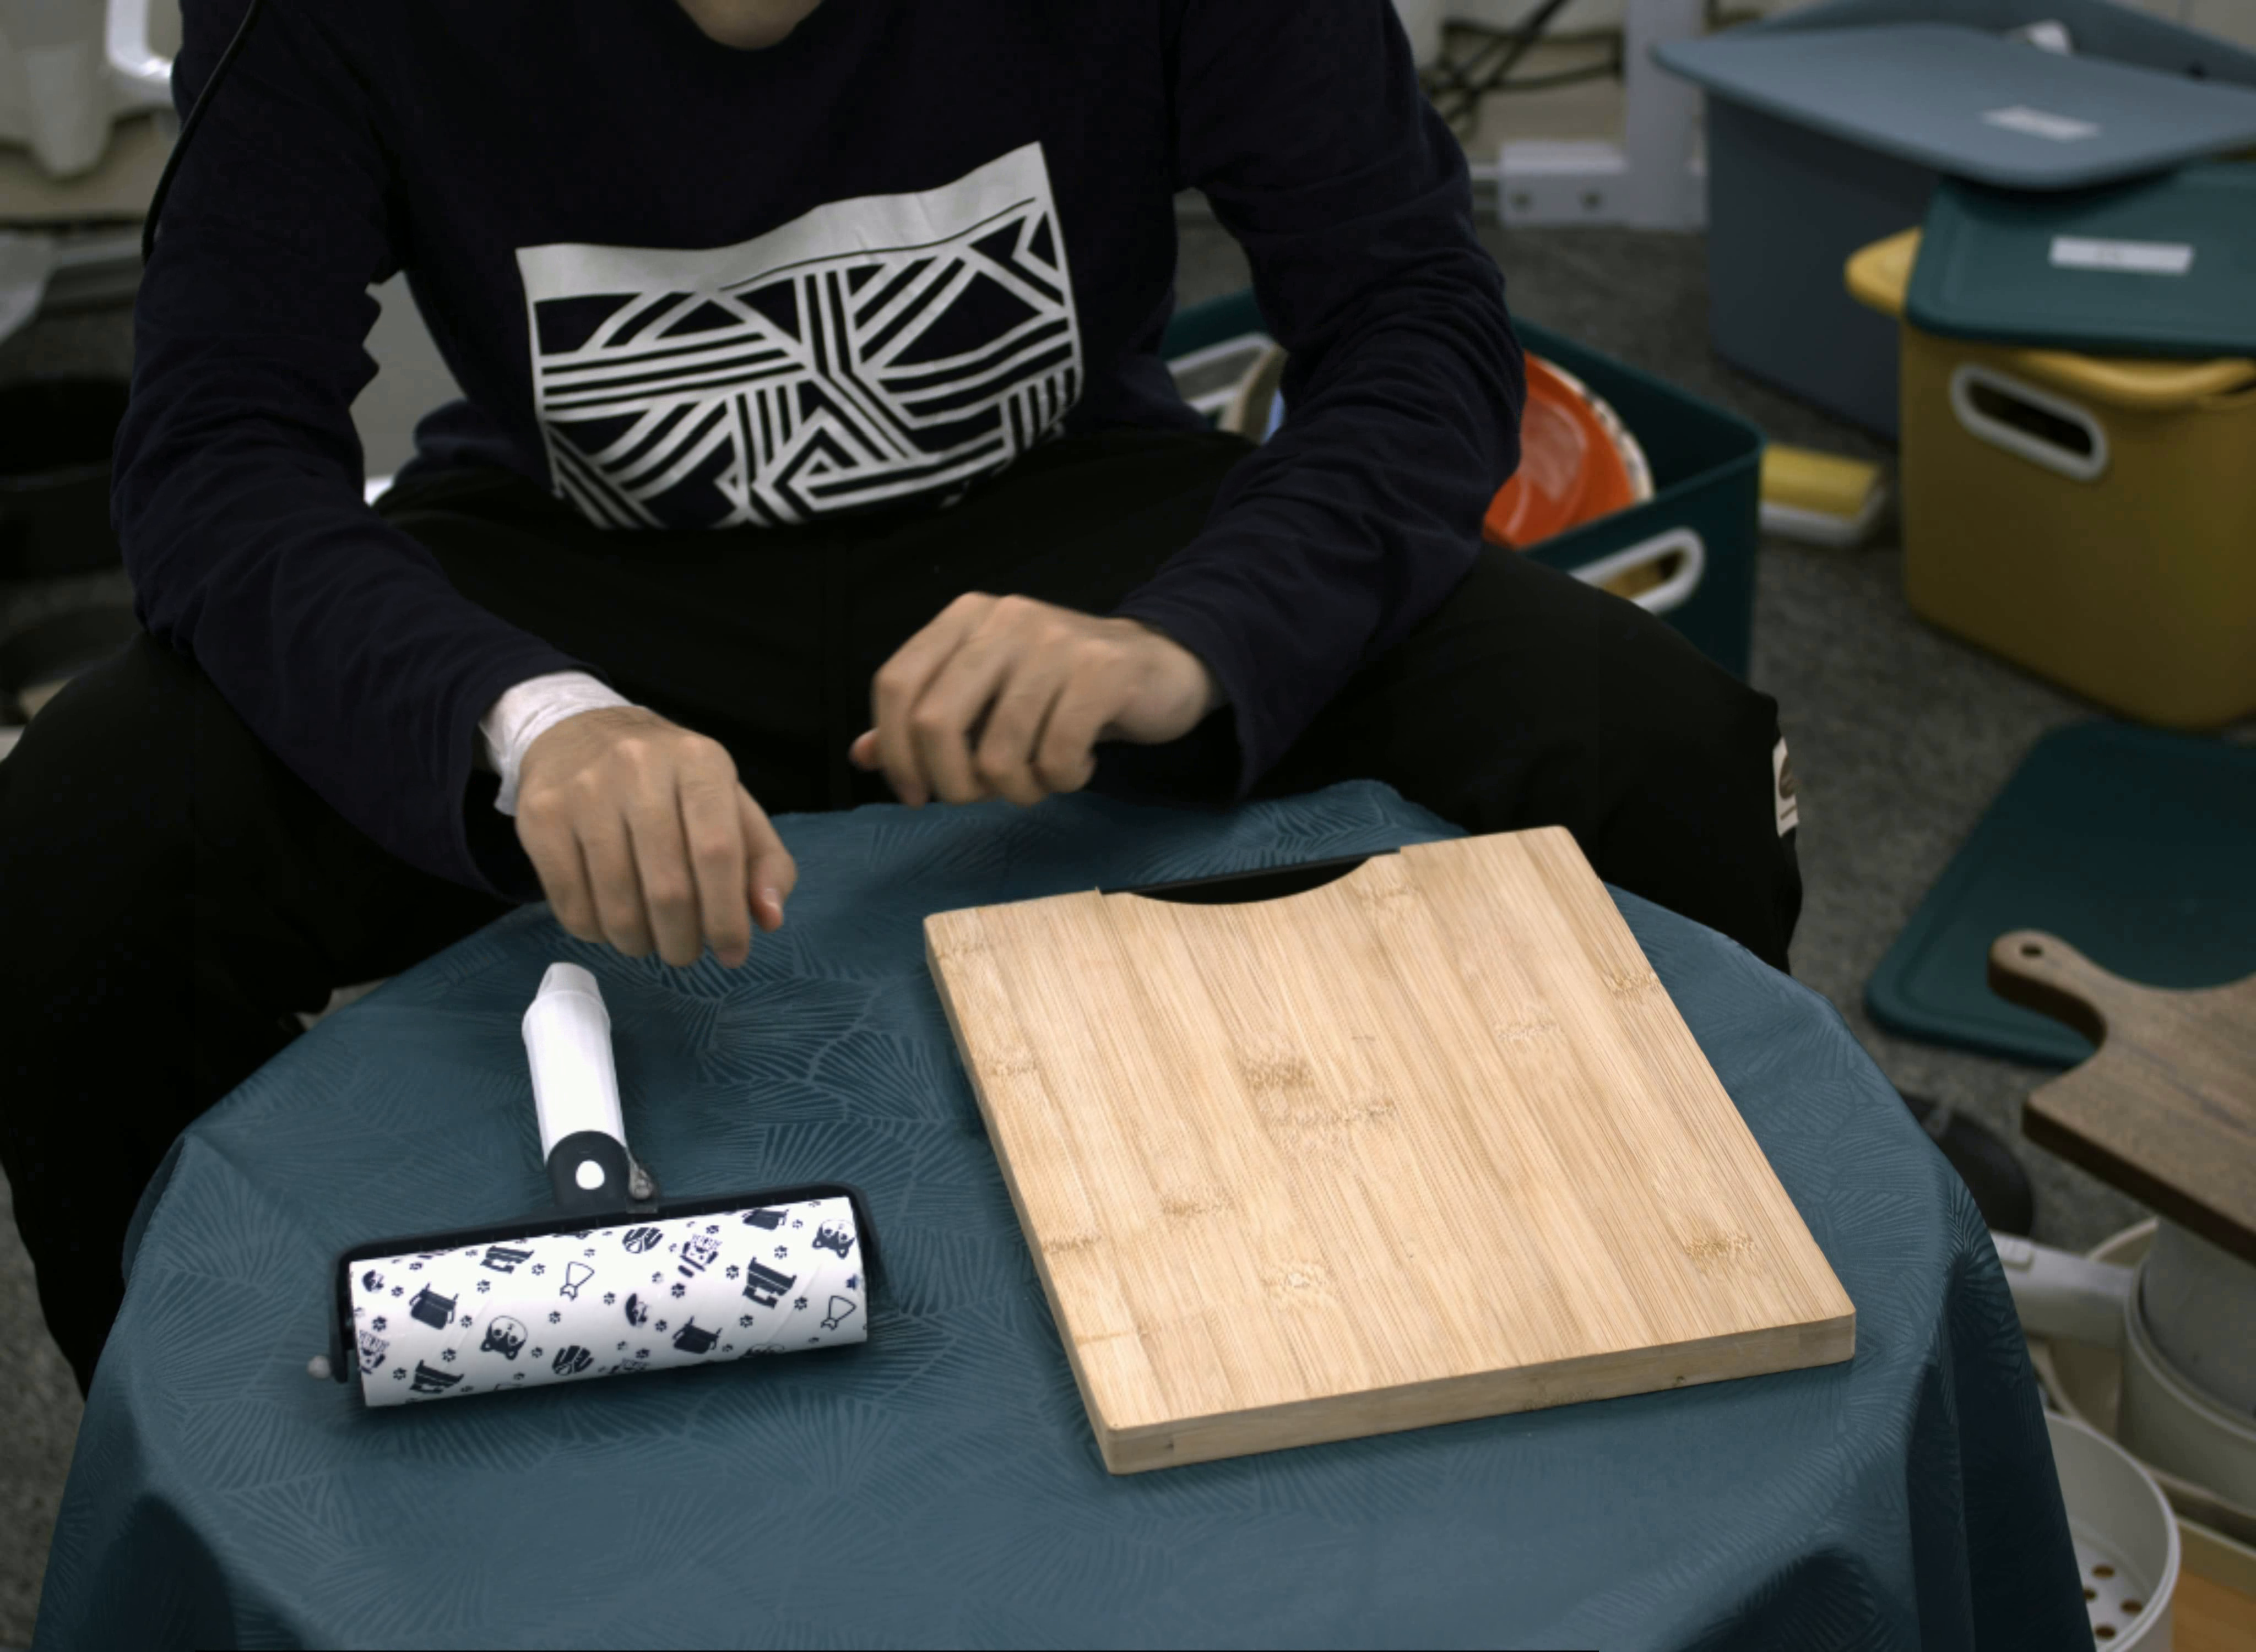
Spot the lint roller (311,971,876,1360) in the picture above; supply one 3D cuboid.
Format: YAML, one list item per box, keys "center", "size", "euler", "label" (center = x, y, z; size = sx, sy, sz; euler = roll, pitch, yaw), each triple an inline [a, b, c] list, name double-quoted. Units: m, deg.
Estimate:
- center: [-0.175, 0.101, 1.857]
  size: [0.175, 0.050, 0.250]
  euler: [-3, 24, -4]
  label: "lint roller"

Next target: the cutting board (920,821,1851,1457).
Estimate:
- center: [0.075, 0.098, 1.883]
  size: [0.250, 0.023, 0.352]
  euler: [-7, 28, -10]
  label: "cutting board"
